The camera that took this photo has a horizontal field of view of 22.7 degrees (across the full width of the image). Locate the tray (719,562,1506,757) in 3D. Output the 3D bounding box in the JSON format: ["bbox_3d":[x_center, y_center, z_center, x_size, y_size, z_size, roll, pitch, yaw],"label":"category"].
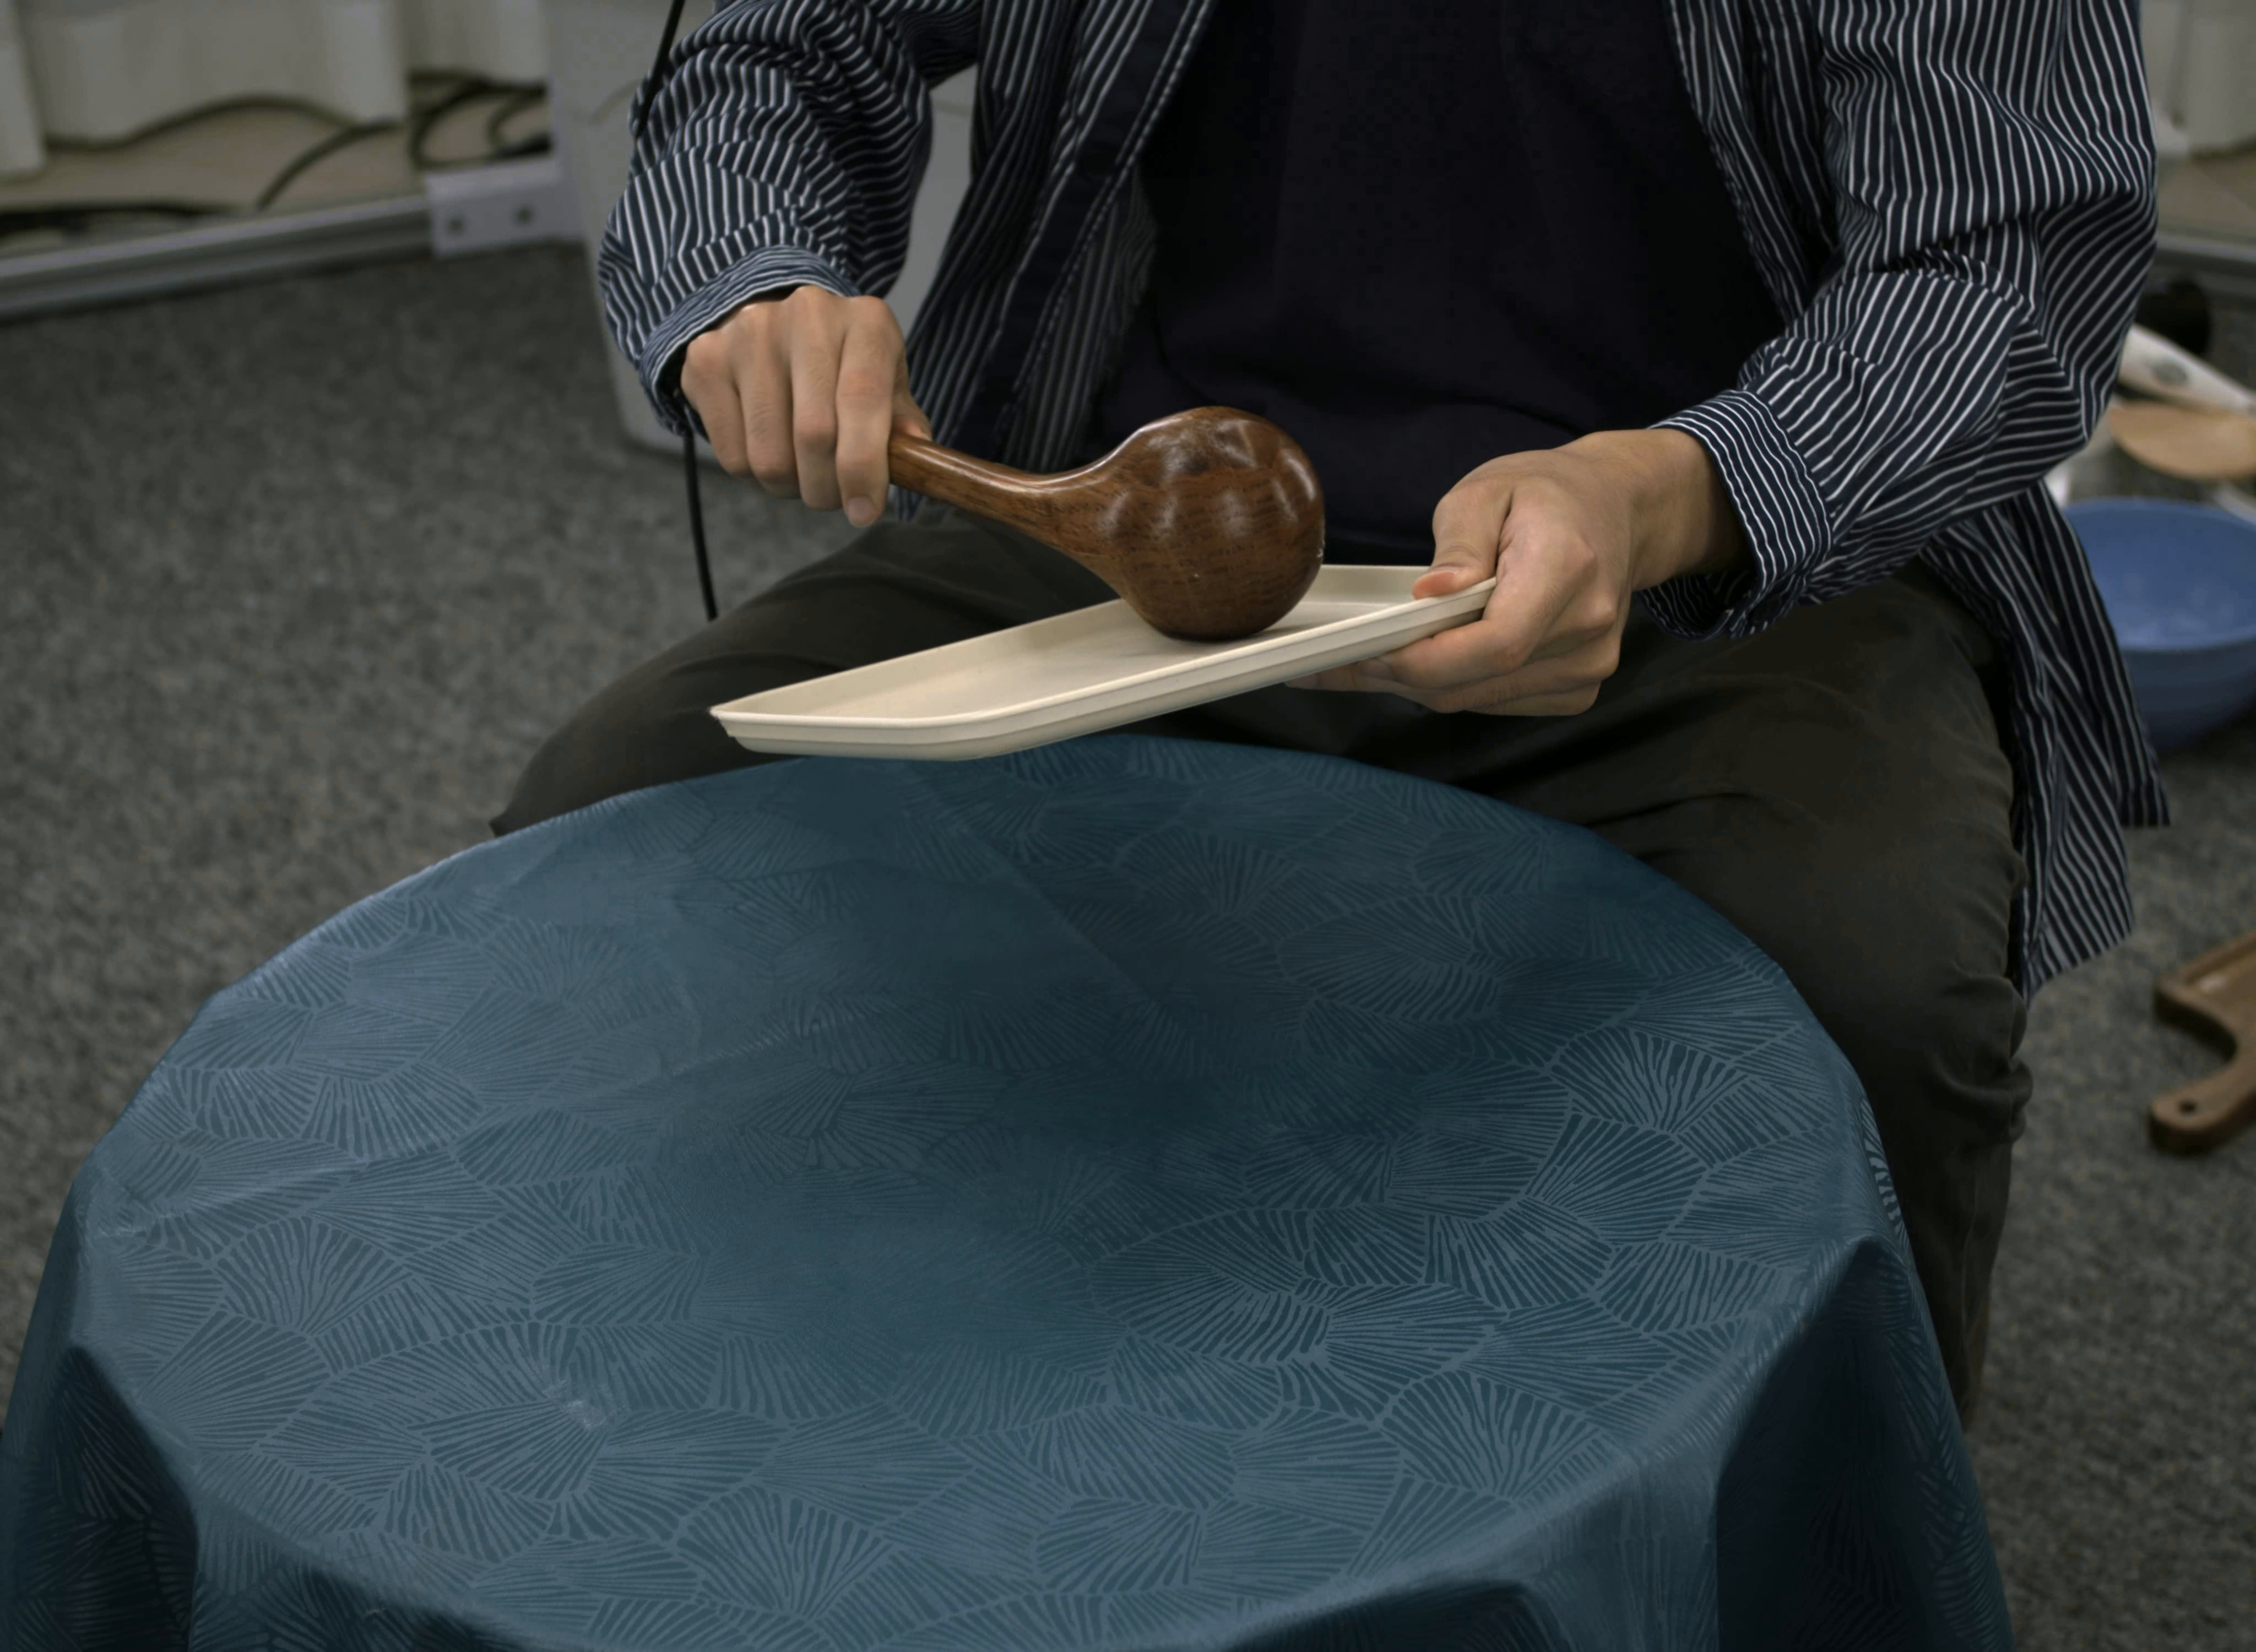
[{"bbox_3d":[-0.004,-0.055,1.872,0.241,0.017,0.170,-16,11,-34],"label":"tray"}]

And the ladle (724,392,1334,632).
[{"bbox_3d":[-0.036,-0.127,1.993,0.077,0.082,0.273,-4,14,-38],"label":"ladle"}]
